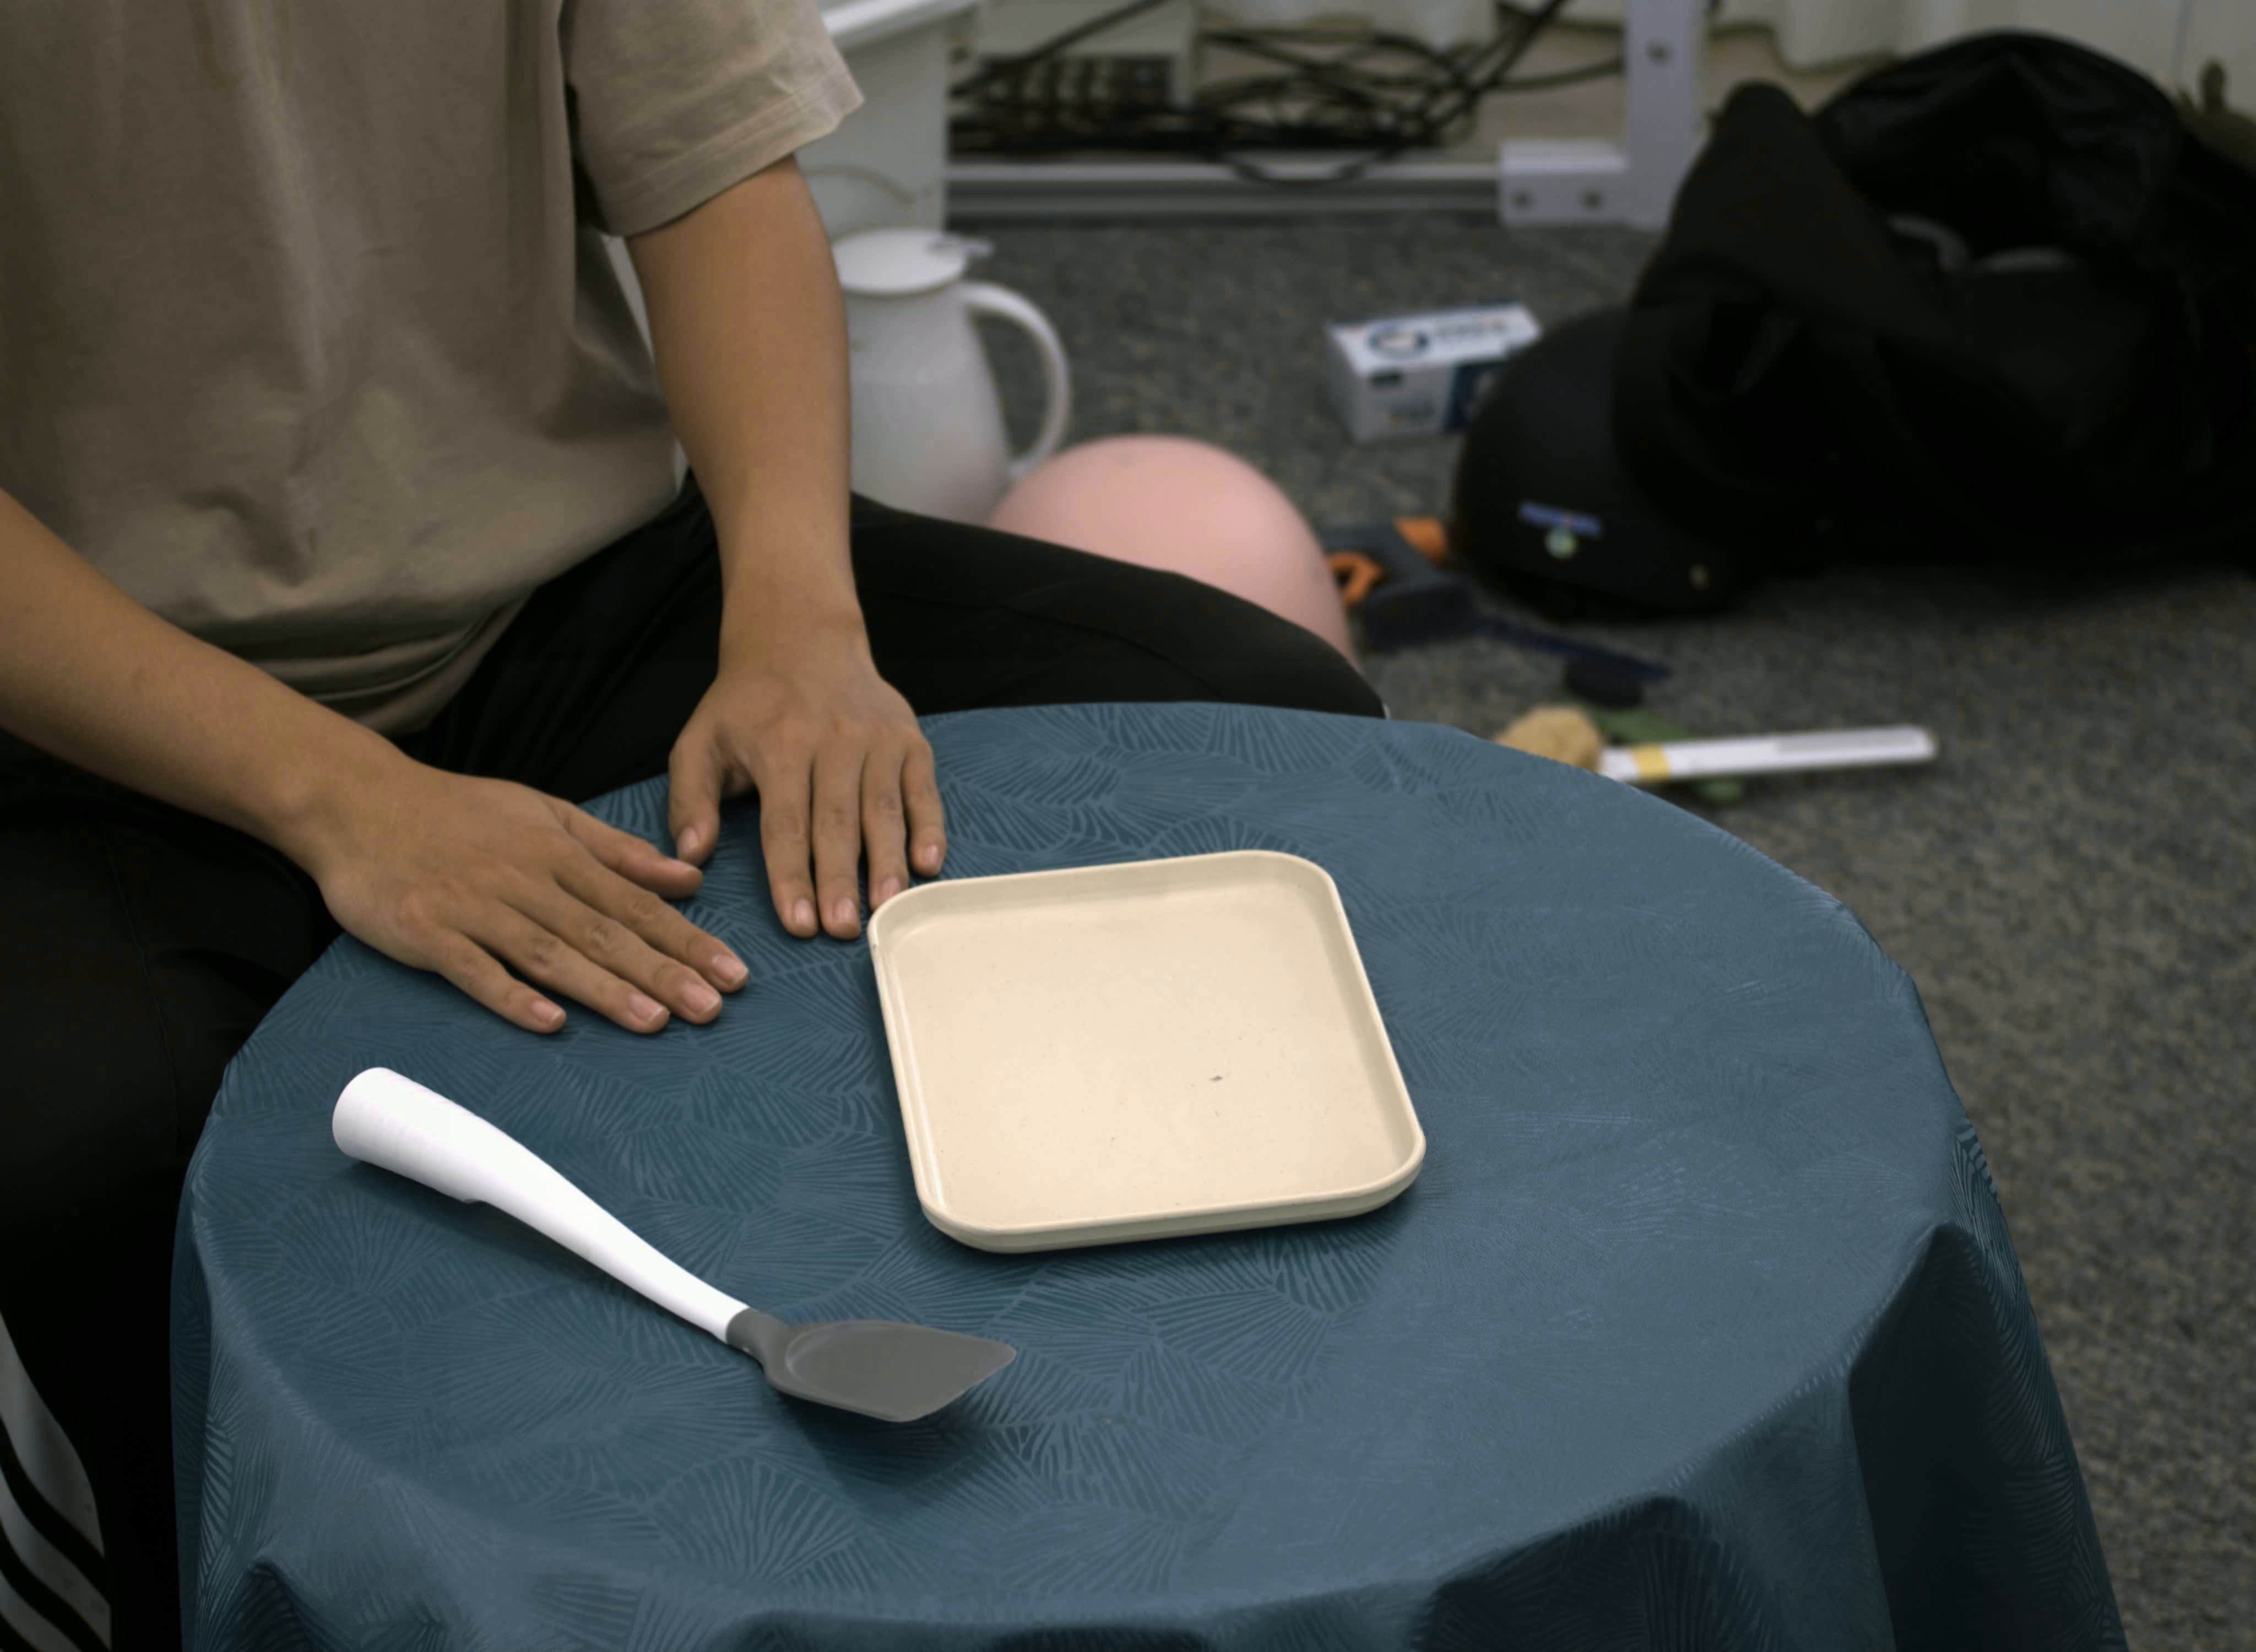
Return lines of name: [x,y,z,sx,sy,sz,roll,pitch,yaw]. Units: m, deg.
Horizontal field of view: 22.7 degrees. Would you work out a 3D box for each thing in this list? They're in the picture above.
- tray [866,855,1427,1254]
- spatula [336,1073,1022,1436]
tray: [0.003,0.077,1.928,0.171,0.017,0.243,-5,28,-6]
spatula: [-0.150,0.140,1.802,0.287,0.032,0.059,22,32,38]
